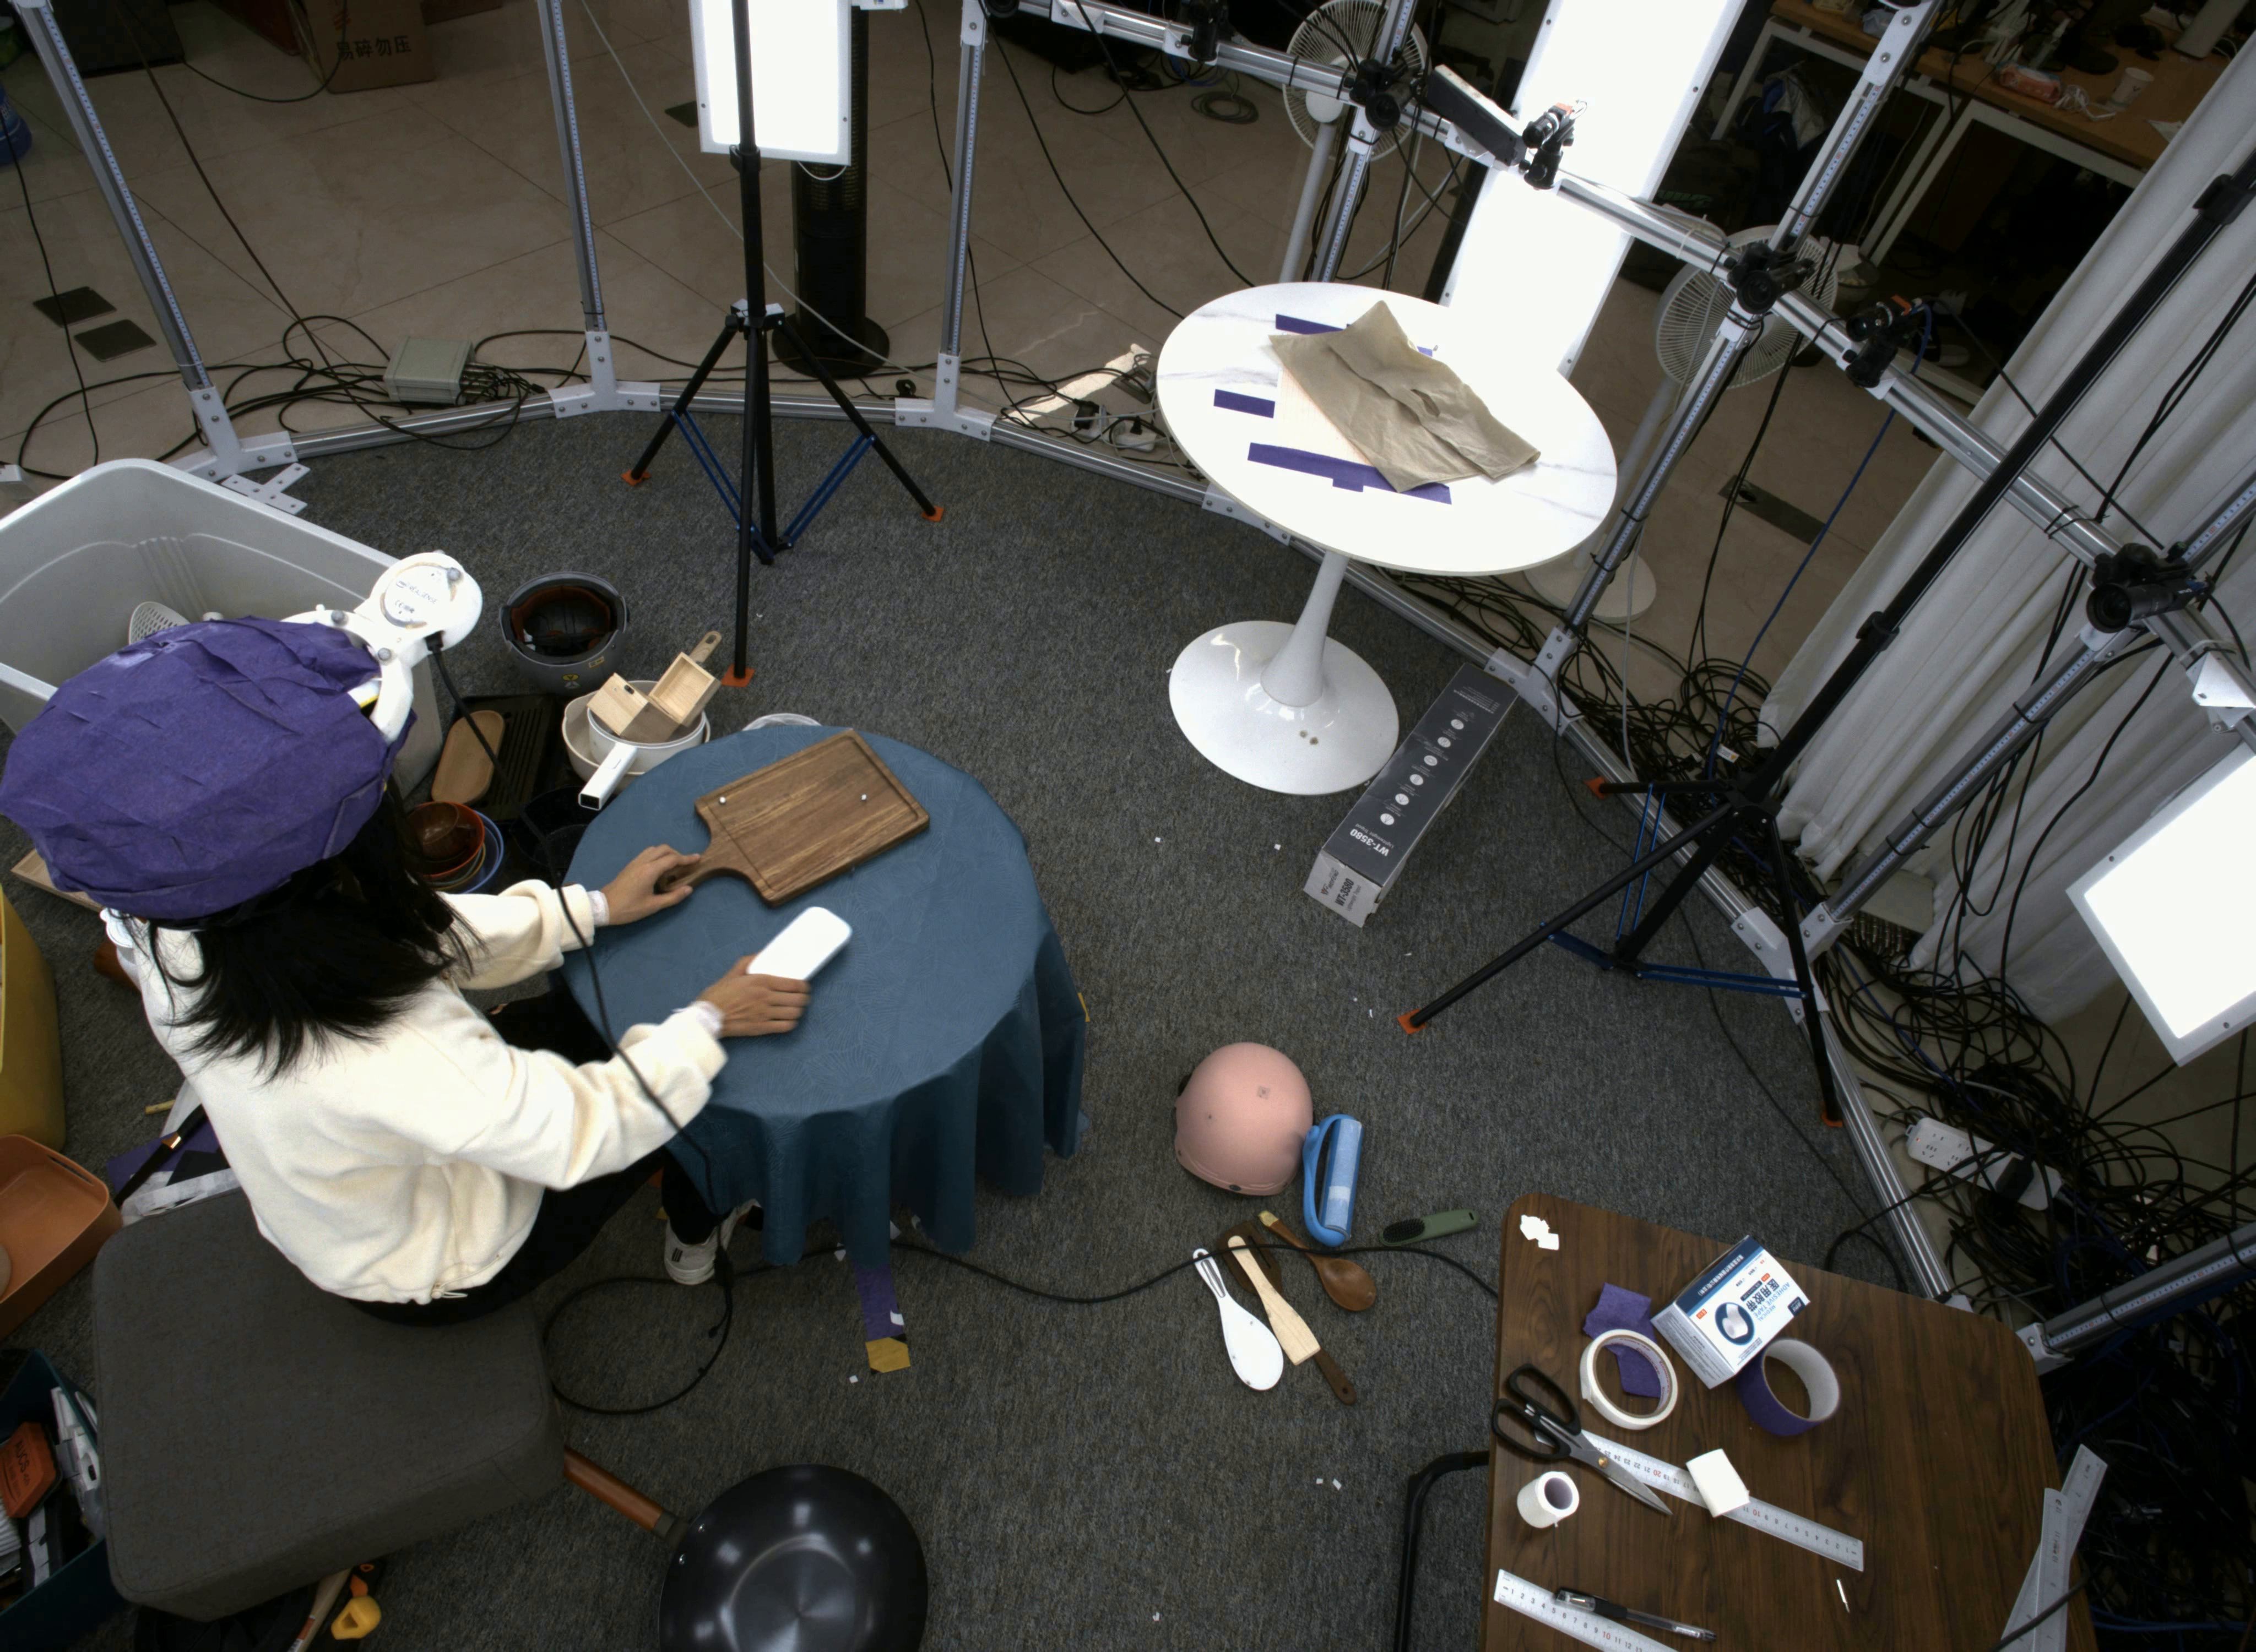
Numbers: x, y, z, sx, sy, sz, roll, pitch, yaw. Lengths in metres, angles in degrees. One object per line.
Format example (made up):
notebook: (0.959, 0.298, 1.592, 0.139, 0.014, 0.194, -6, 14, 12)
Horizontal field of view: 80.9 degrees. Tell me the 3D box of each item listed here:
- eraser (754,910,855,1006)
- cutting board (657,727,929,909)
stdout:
eraser: (-0.395, 0.156, 1.582, 0.062, 0.035, 0.131, 35, 52, 12)
cutting board: (-0.457, 0.003, 1.694, 0.353, 0.023, 0.196, -31, 66, -32)
